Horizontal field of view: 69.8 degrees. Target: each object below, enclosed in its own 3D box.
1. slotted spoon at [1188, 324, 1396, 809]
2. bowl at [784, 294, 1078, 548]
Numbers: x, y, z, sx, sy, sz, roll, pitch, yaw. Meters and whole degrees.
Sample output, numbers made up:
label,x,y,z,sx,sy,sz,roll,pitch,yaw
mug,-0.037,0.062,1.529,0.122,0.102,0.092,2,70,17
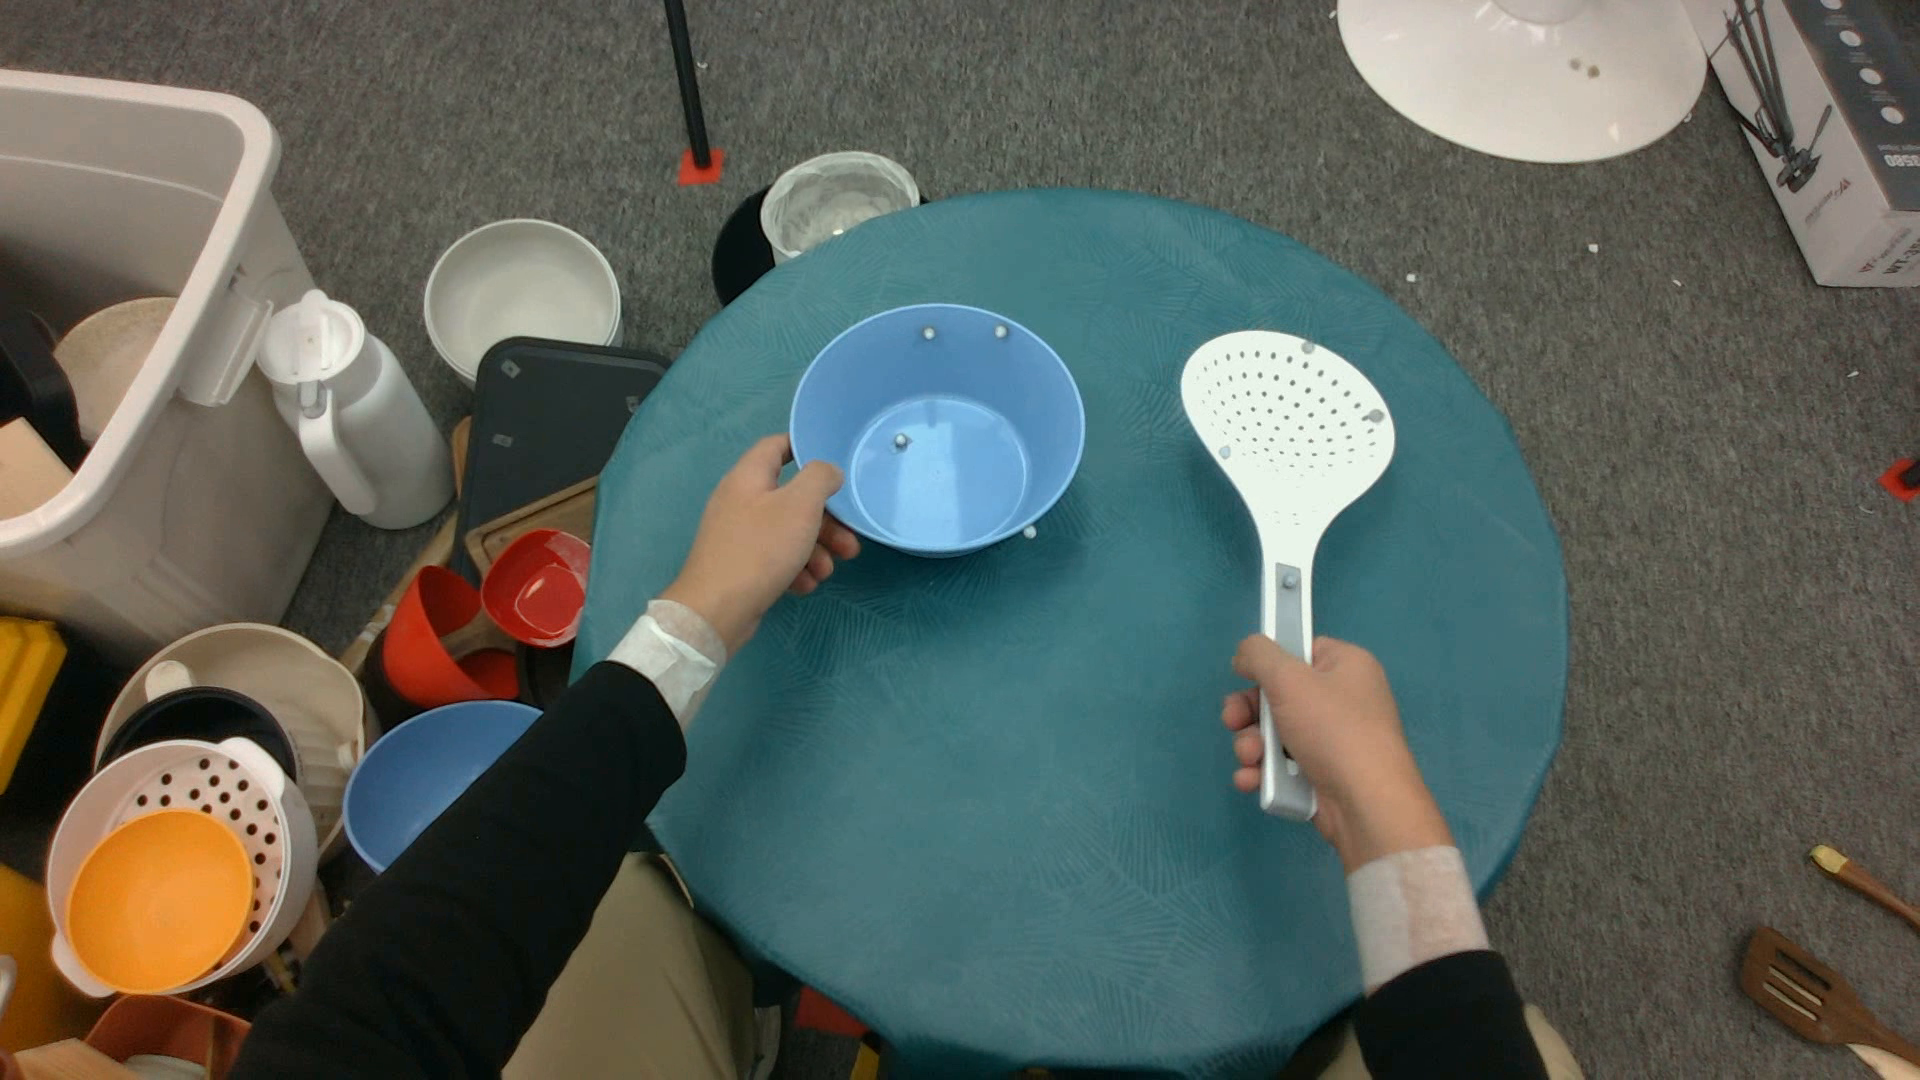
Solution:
label,x,y,z,sx,sy,sz,roll,pitch,yaw
slotted spoon,0.188,-0.001,0.789,0.136,0.045,0.351,15,45,-4
bowl,-0.017,-0.062,0.844,0.176,0.070,0.177,0,62,0
